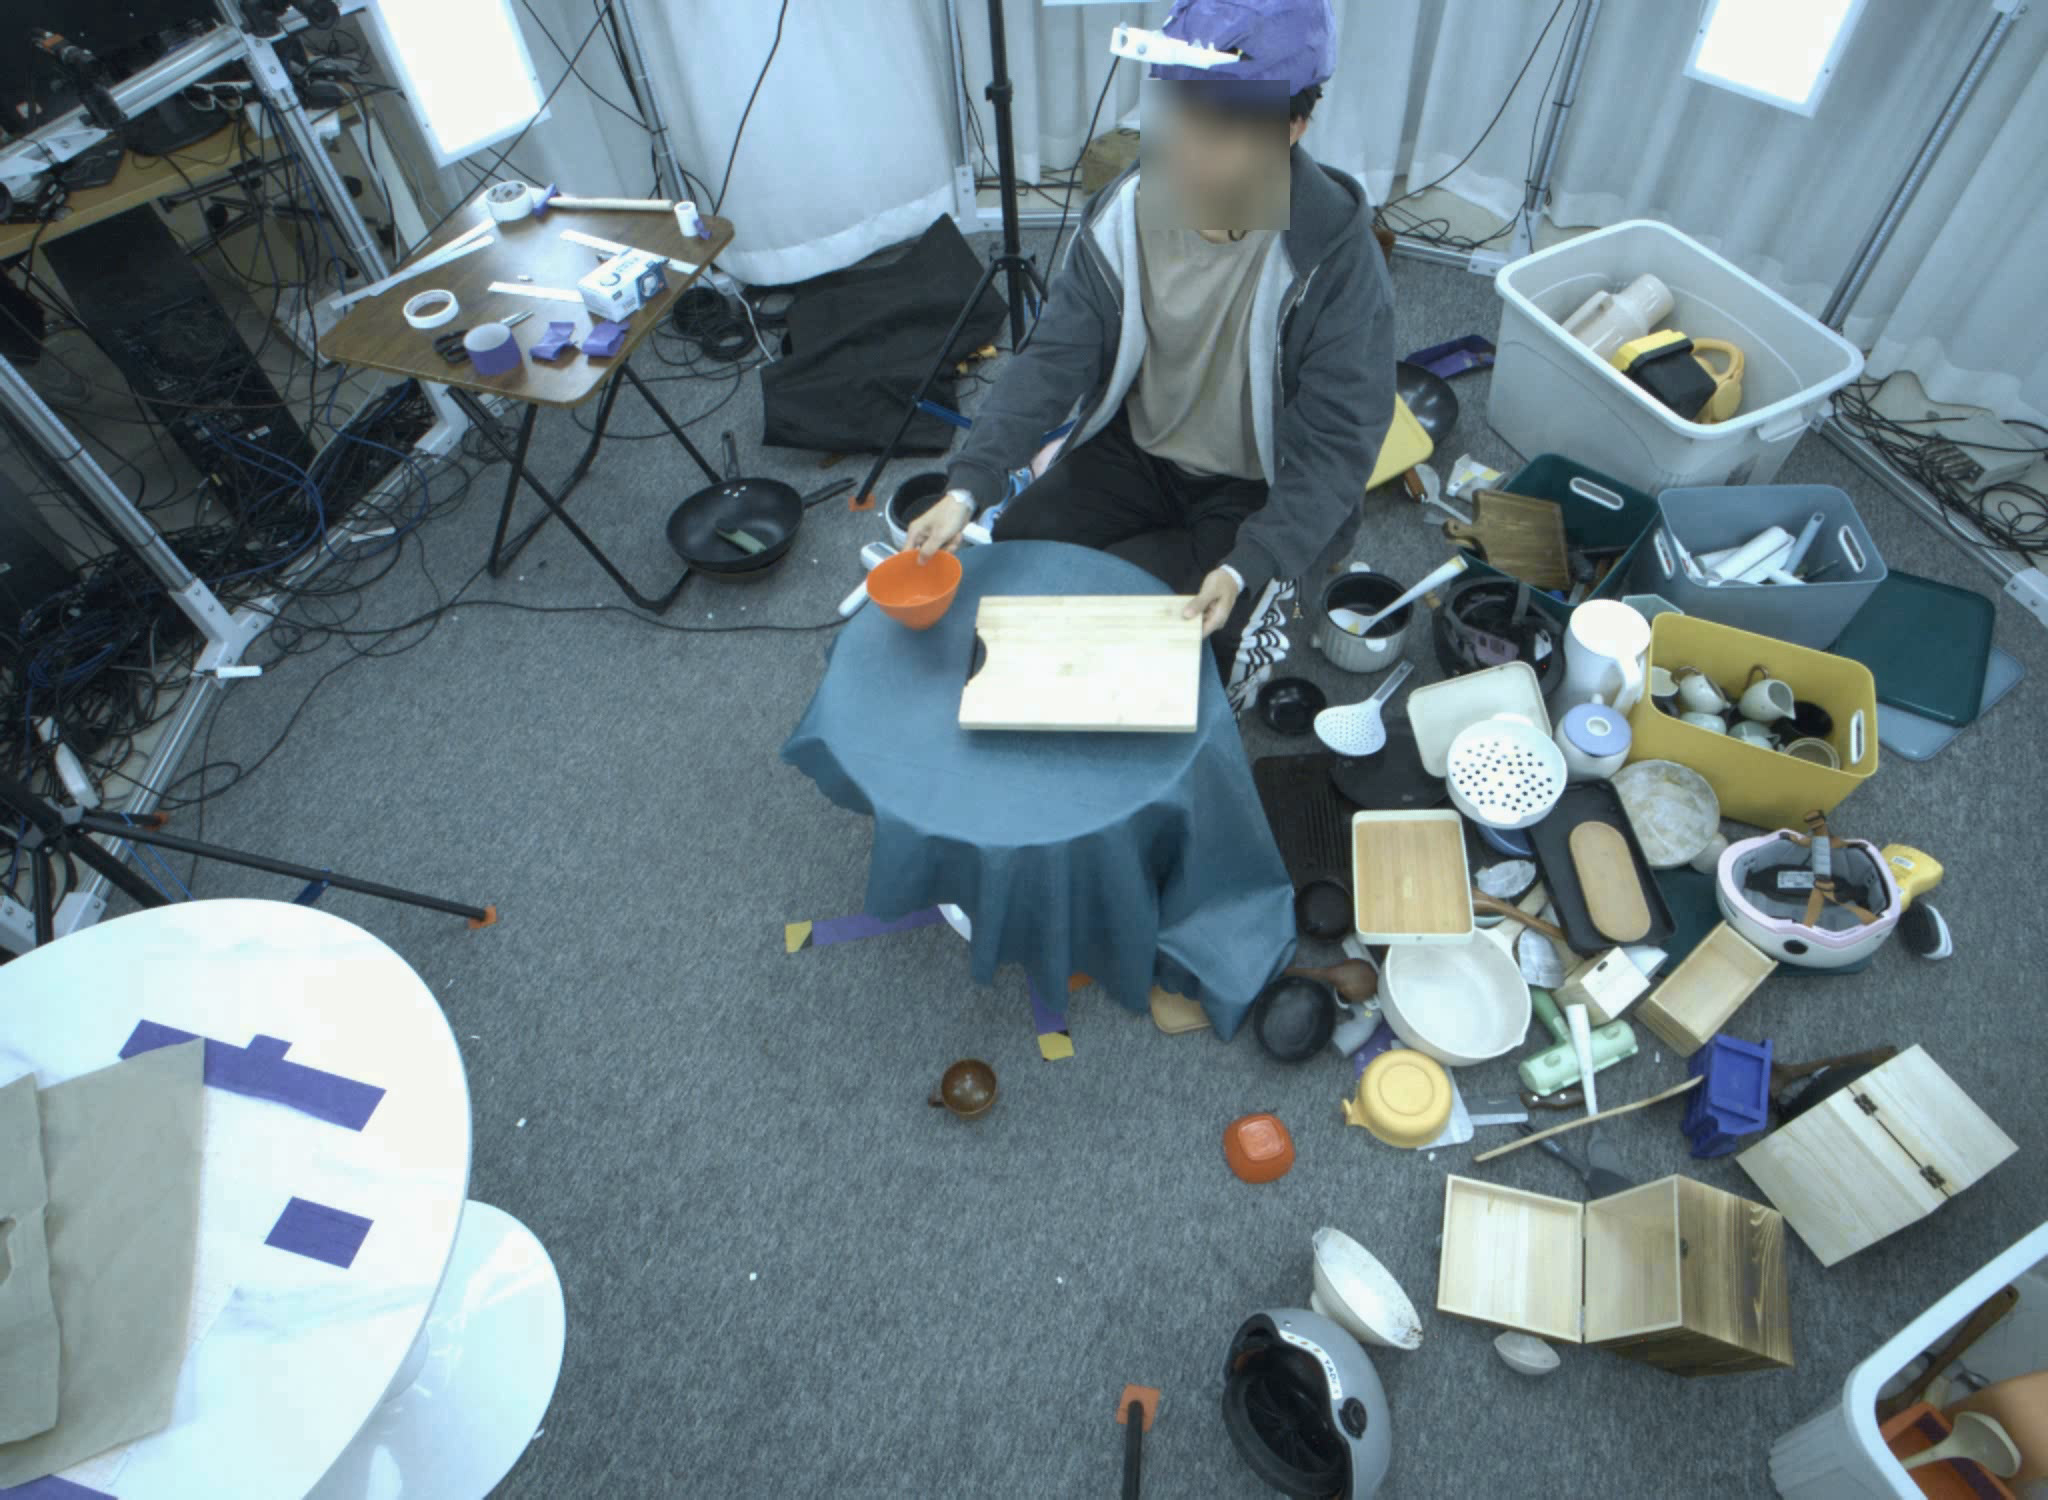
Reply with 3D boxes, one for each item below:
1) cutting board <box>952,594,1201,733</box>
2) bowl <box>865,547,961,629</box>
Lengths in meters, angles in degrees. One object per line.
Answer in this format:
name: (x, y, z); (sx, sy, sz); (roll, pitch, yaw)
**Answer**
cutting board: (0.081, -0.132, 1.810); (0.347, 0.024, 0.249); (1, 56, 8)
bowl: (-0.163, -0.235, 1.866); (0.147, 0.106, 0.146); (-3, 55, 5)
